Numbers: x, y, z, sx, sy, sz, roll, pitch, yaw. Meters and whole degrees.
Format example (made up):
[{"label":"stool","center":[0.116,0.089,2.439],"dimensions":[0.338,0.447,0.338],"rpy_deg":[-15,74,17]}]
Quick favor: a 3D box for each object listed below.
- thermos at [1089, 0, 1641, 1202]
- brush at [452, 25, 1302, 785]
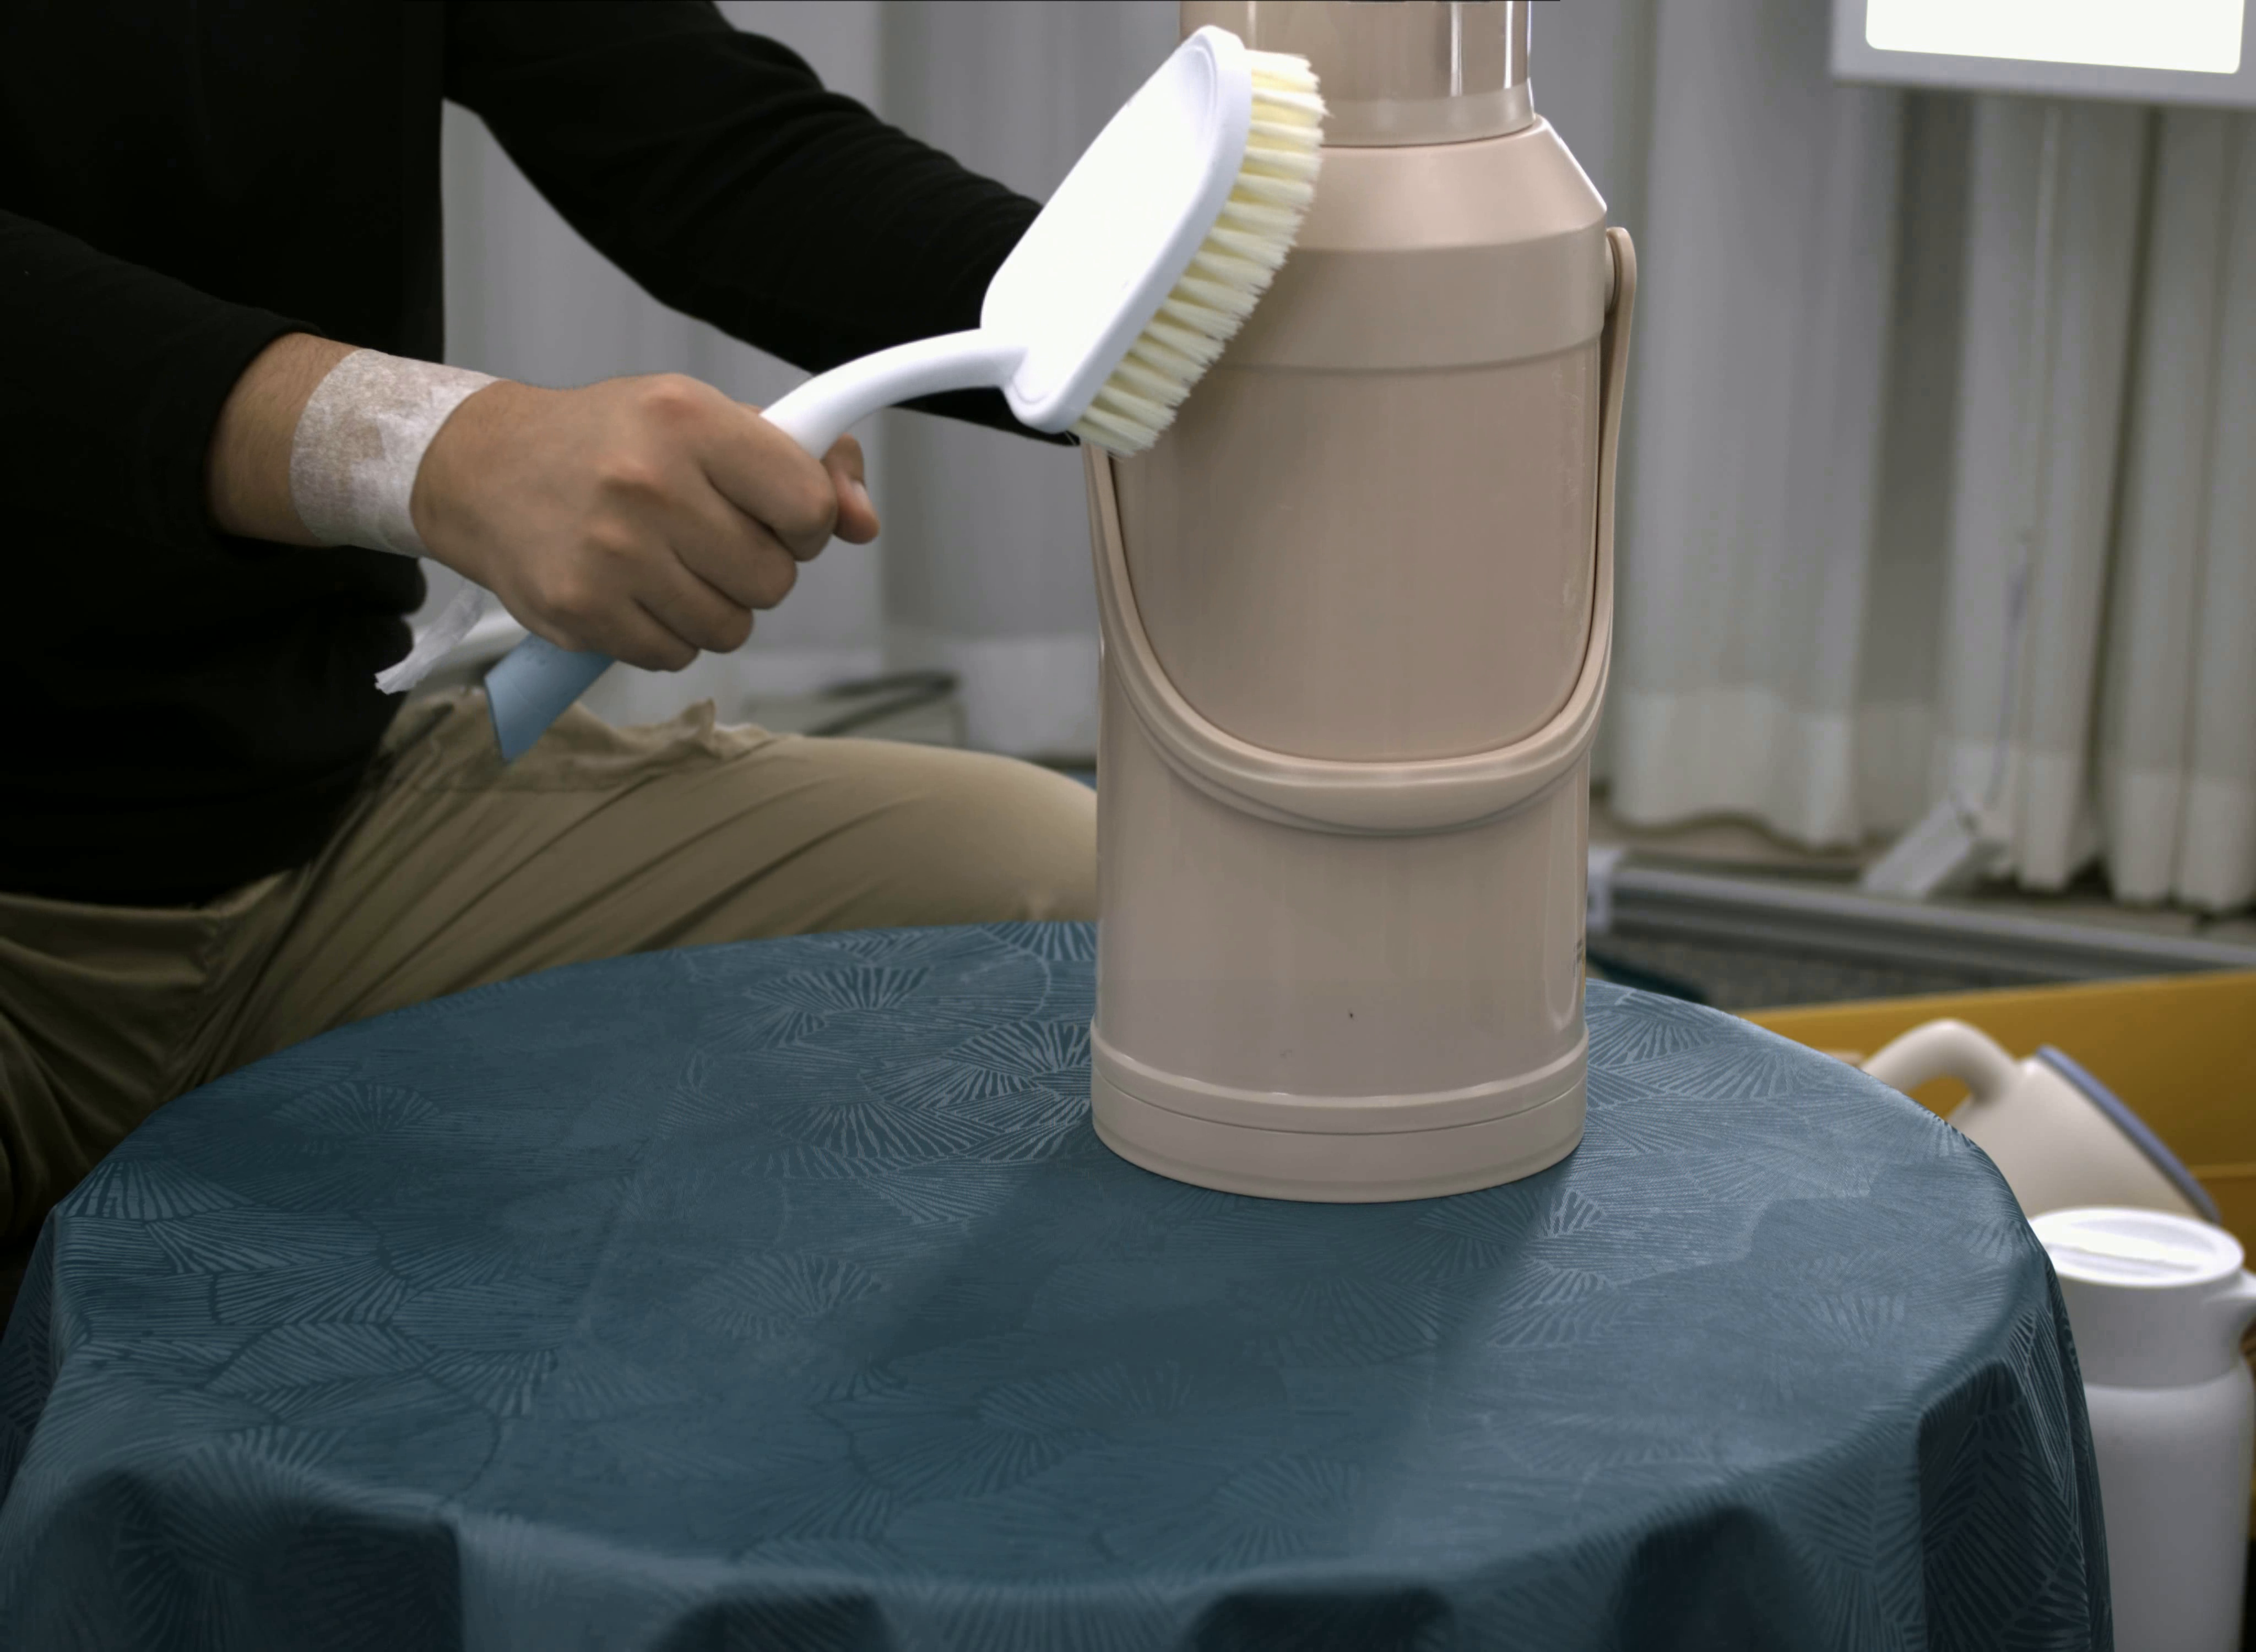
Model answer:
[{"label":"thermos","center":[0.068,-0.101,1.645],"dimensions":[0.175,0.410,0.205],"rpy_deg":[-5,17,-12]},{"label":"brush","center":[-0.067,-0.110,1.550],"dimensions":[0.325,0.085,0.083],"rpy_deg":[-42,5,18]}]
